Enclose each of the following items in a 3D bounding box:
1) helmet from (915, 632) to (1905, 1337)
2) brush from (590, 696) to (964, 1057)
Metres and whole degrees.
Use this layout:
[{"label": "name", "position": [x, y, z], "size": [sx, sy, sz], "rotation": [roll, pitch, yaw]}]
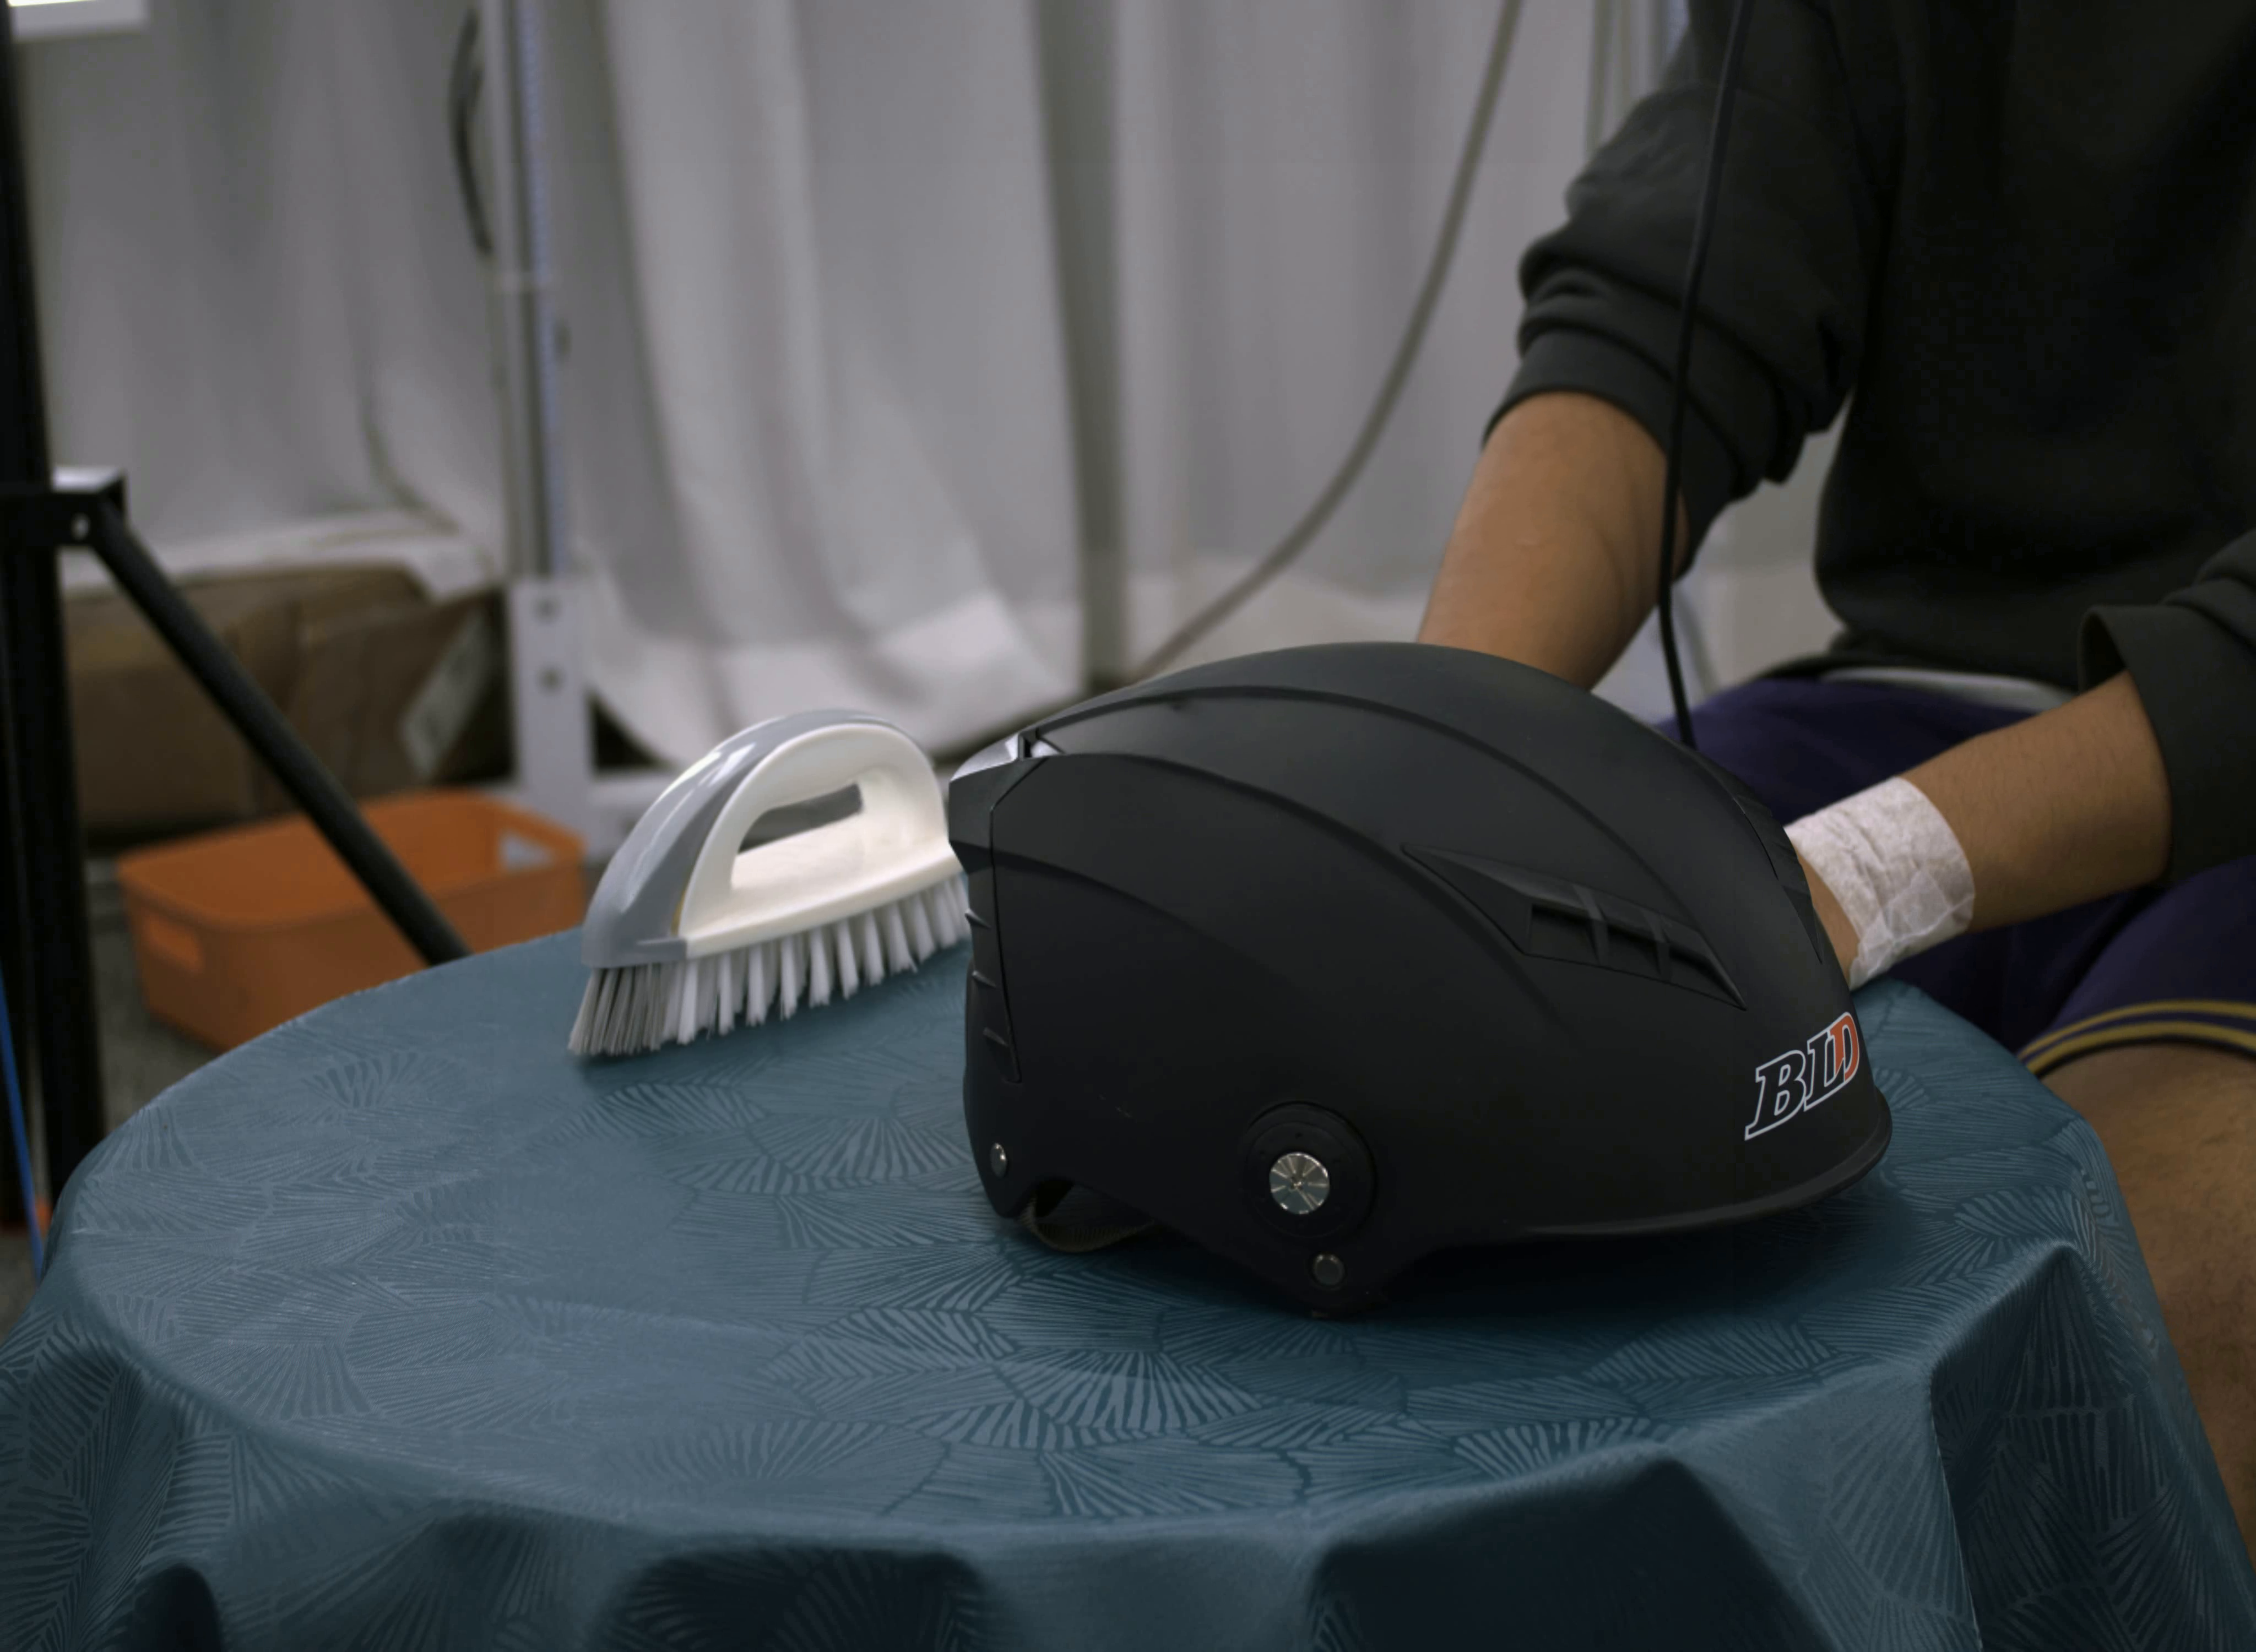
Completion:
[{"label": "helmet", "position": [0.078, 0.032, 1.527], "size": [0.282, 0.172, 0.242], "rotation": [4, 17, 36]}, {"label": "brush", "position": [-0.119, 0.013, 1.751], "size": [0.063, 0.094, 0.172], "rotation": [8, 20, 38]}]
